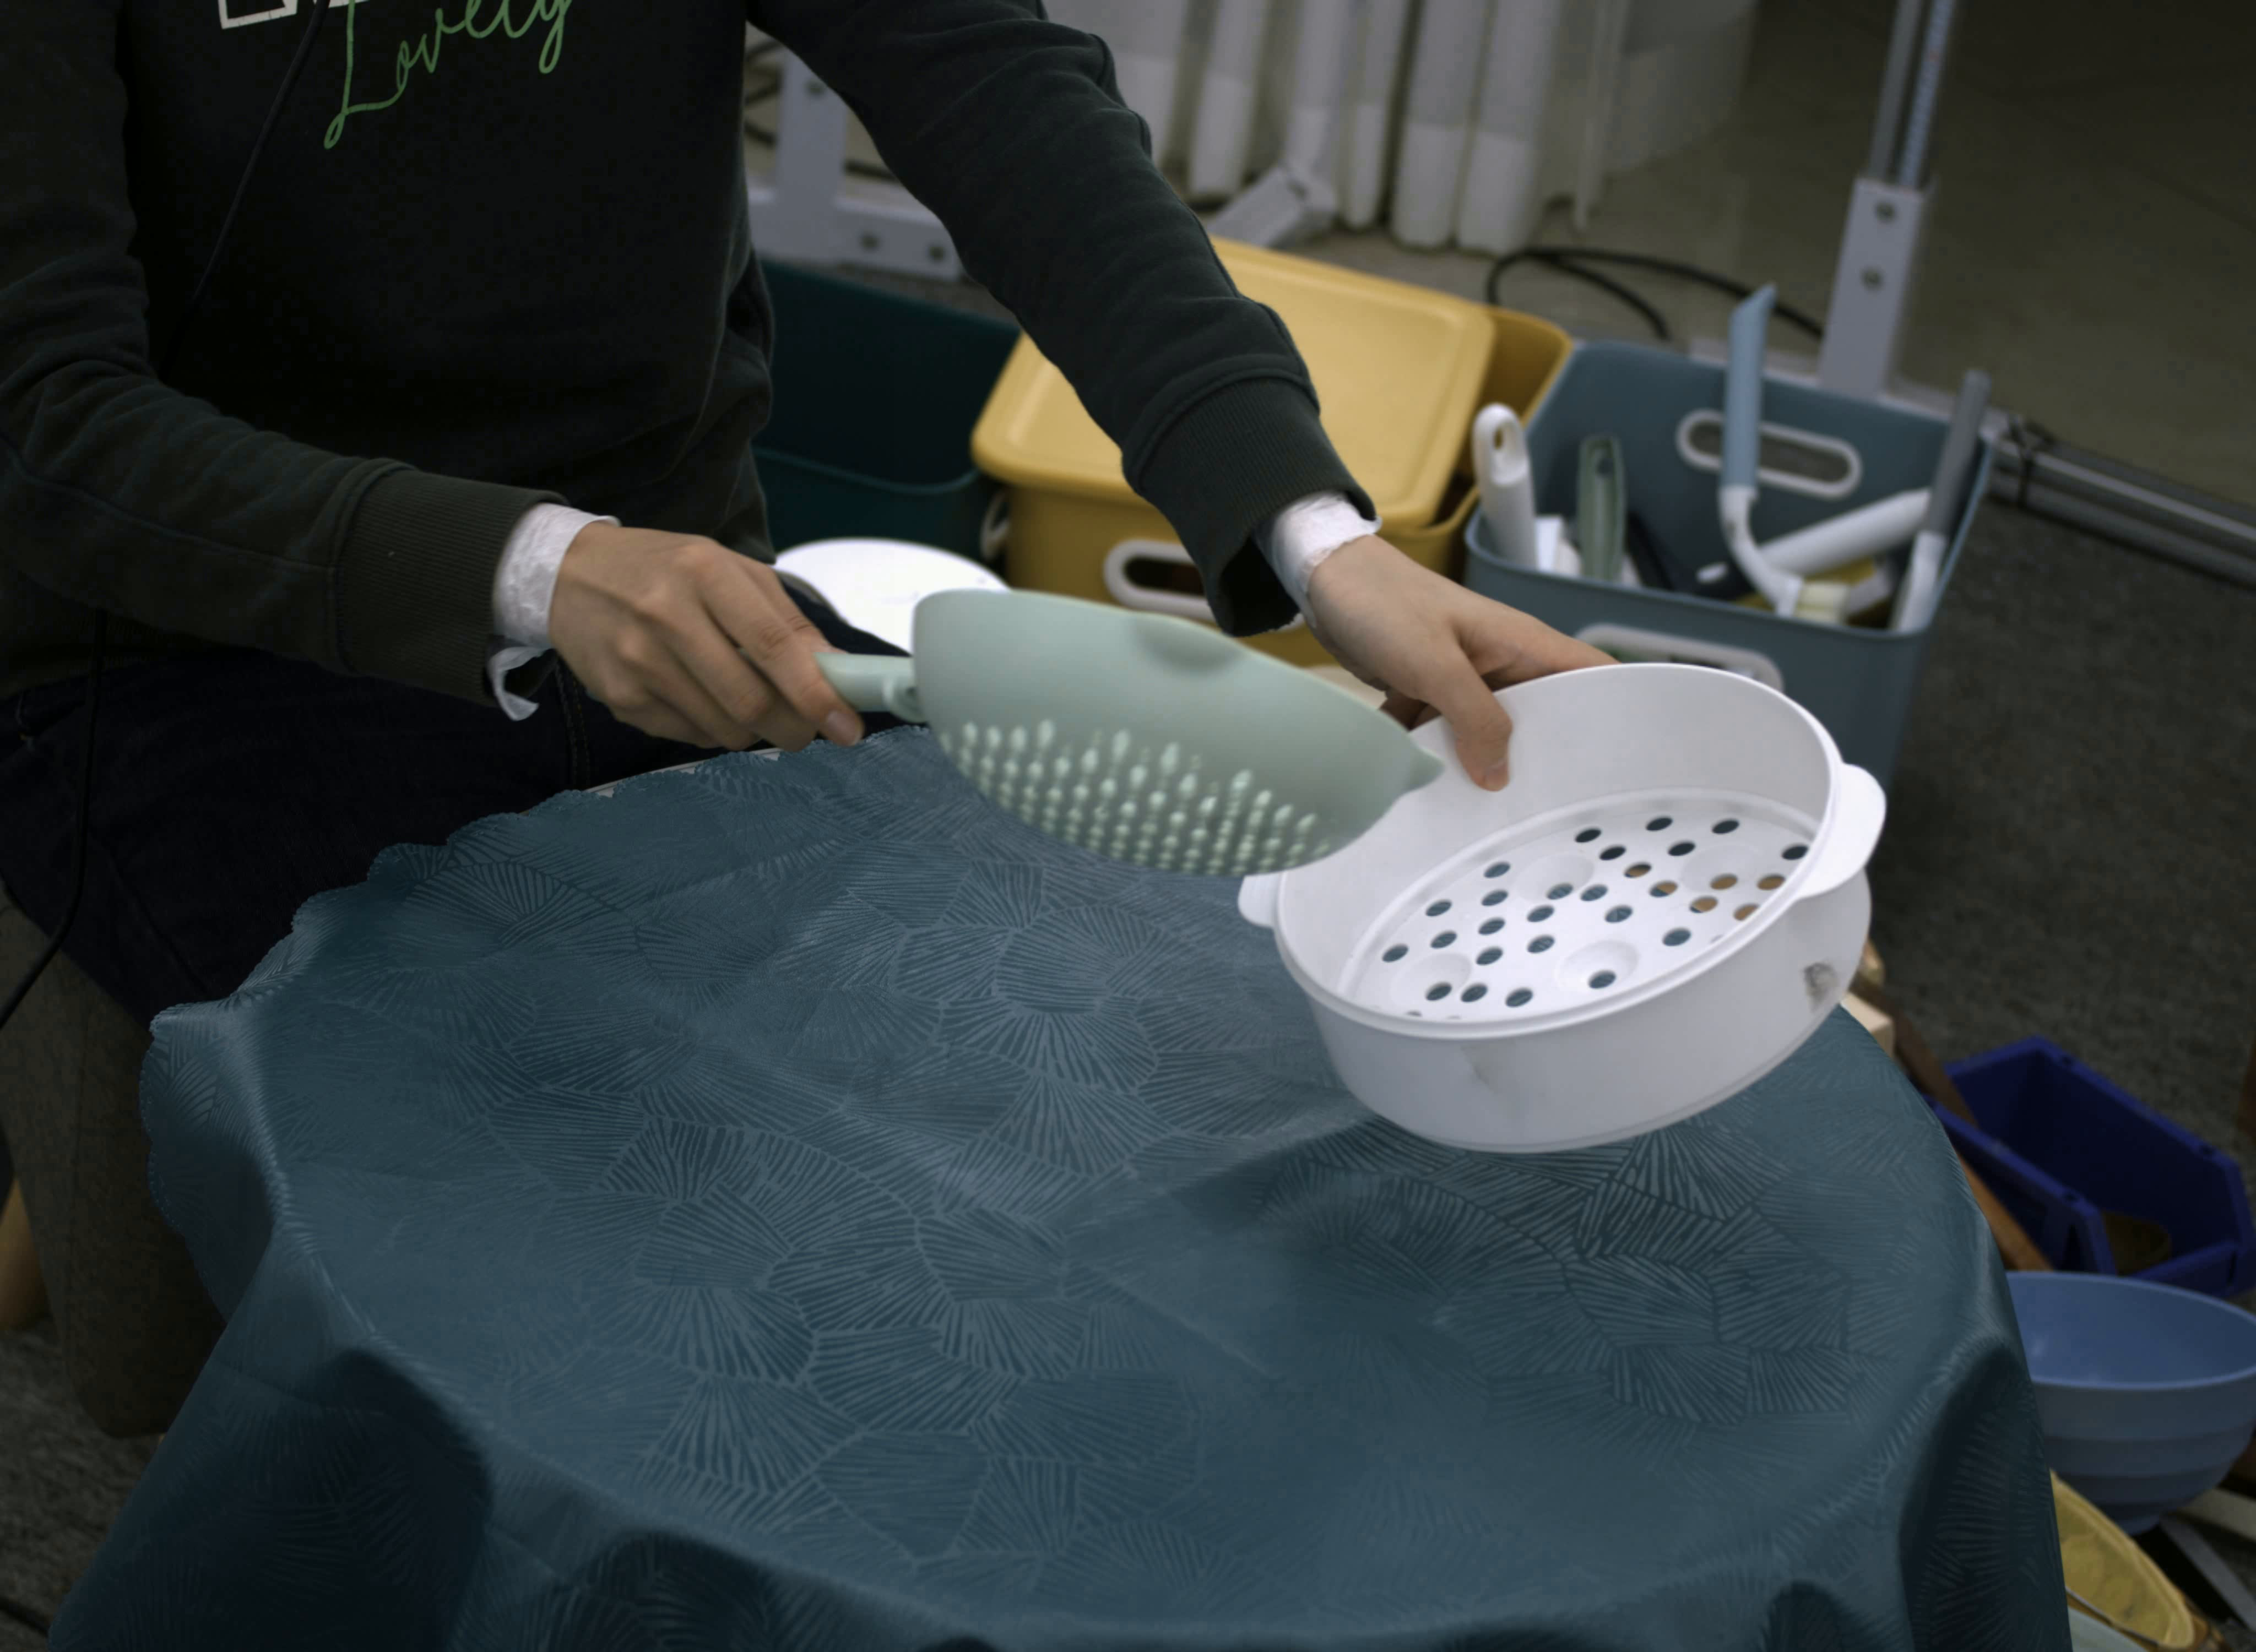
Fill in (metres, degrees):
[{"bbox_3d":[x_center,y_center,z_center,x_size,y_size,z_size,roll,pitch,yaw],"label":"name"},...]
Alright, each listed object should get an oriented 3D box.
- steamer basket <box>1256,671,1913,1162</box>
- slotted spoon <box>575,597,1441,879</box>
[{"bbox_3d":[0.160,0.030,1.805,0.231,0.069,0.202,-5,34,26],"label":"steamer basket"},{"bbox_3d":[-0.063,-0.037,1.766,0.361,0.075,0.167,15,-9,47],"label":"slotted spoon"}]
